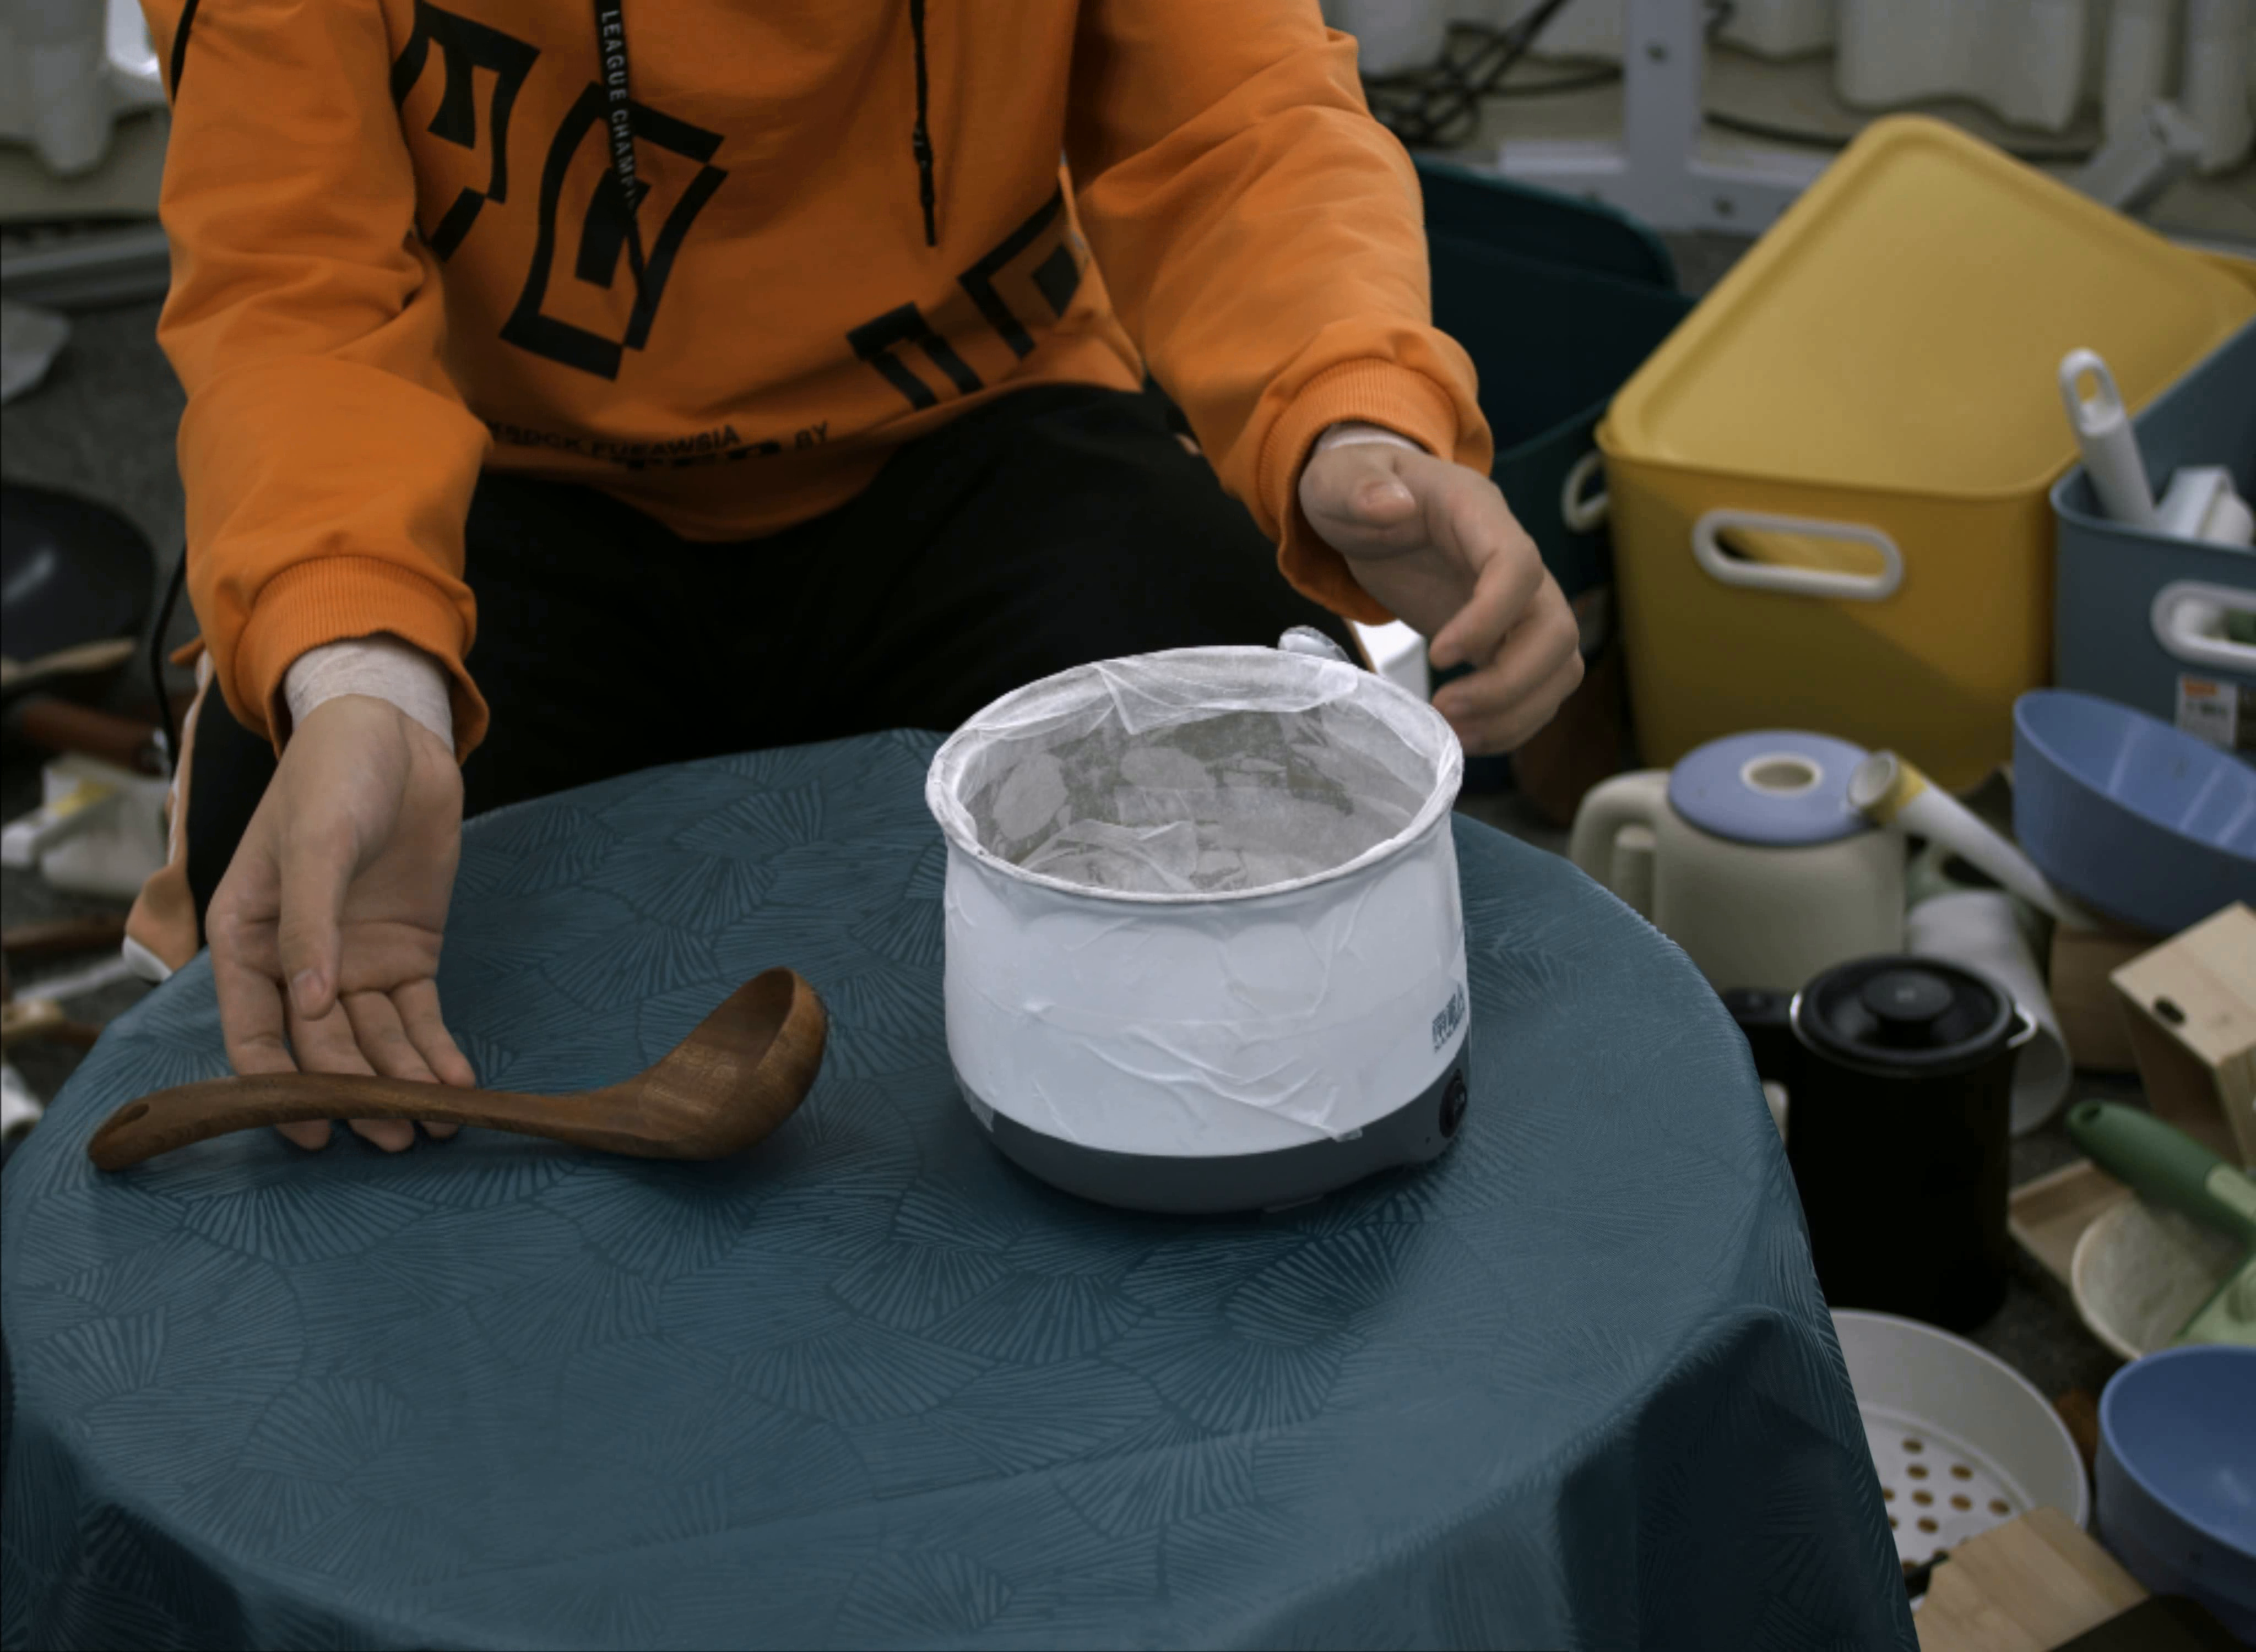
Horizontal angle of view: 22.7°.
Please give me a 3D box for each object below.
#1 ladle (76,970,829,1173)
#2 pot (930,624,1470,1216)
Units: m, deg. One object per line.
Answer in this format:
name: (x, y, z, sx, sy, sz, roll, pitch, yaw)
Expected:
ladle: (-0.228, 0.085, 1.888, 0.259, 0.064, 0.077, -1, 25, 4)
pot: (0.035, 0.024, 1.899, 0.177, 0.135, 0.238, 8, 29, 19)
